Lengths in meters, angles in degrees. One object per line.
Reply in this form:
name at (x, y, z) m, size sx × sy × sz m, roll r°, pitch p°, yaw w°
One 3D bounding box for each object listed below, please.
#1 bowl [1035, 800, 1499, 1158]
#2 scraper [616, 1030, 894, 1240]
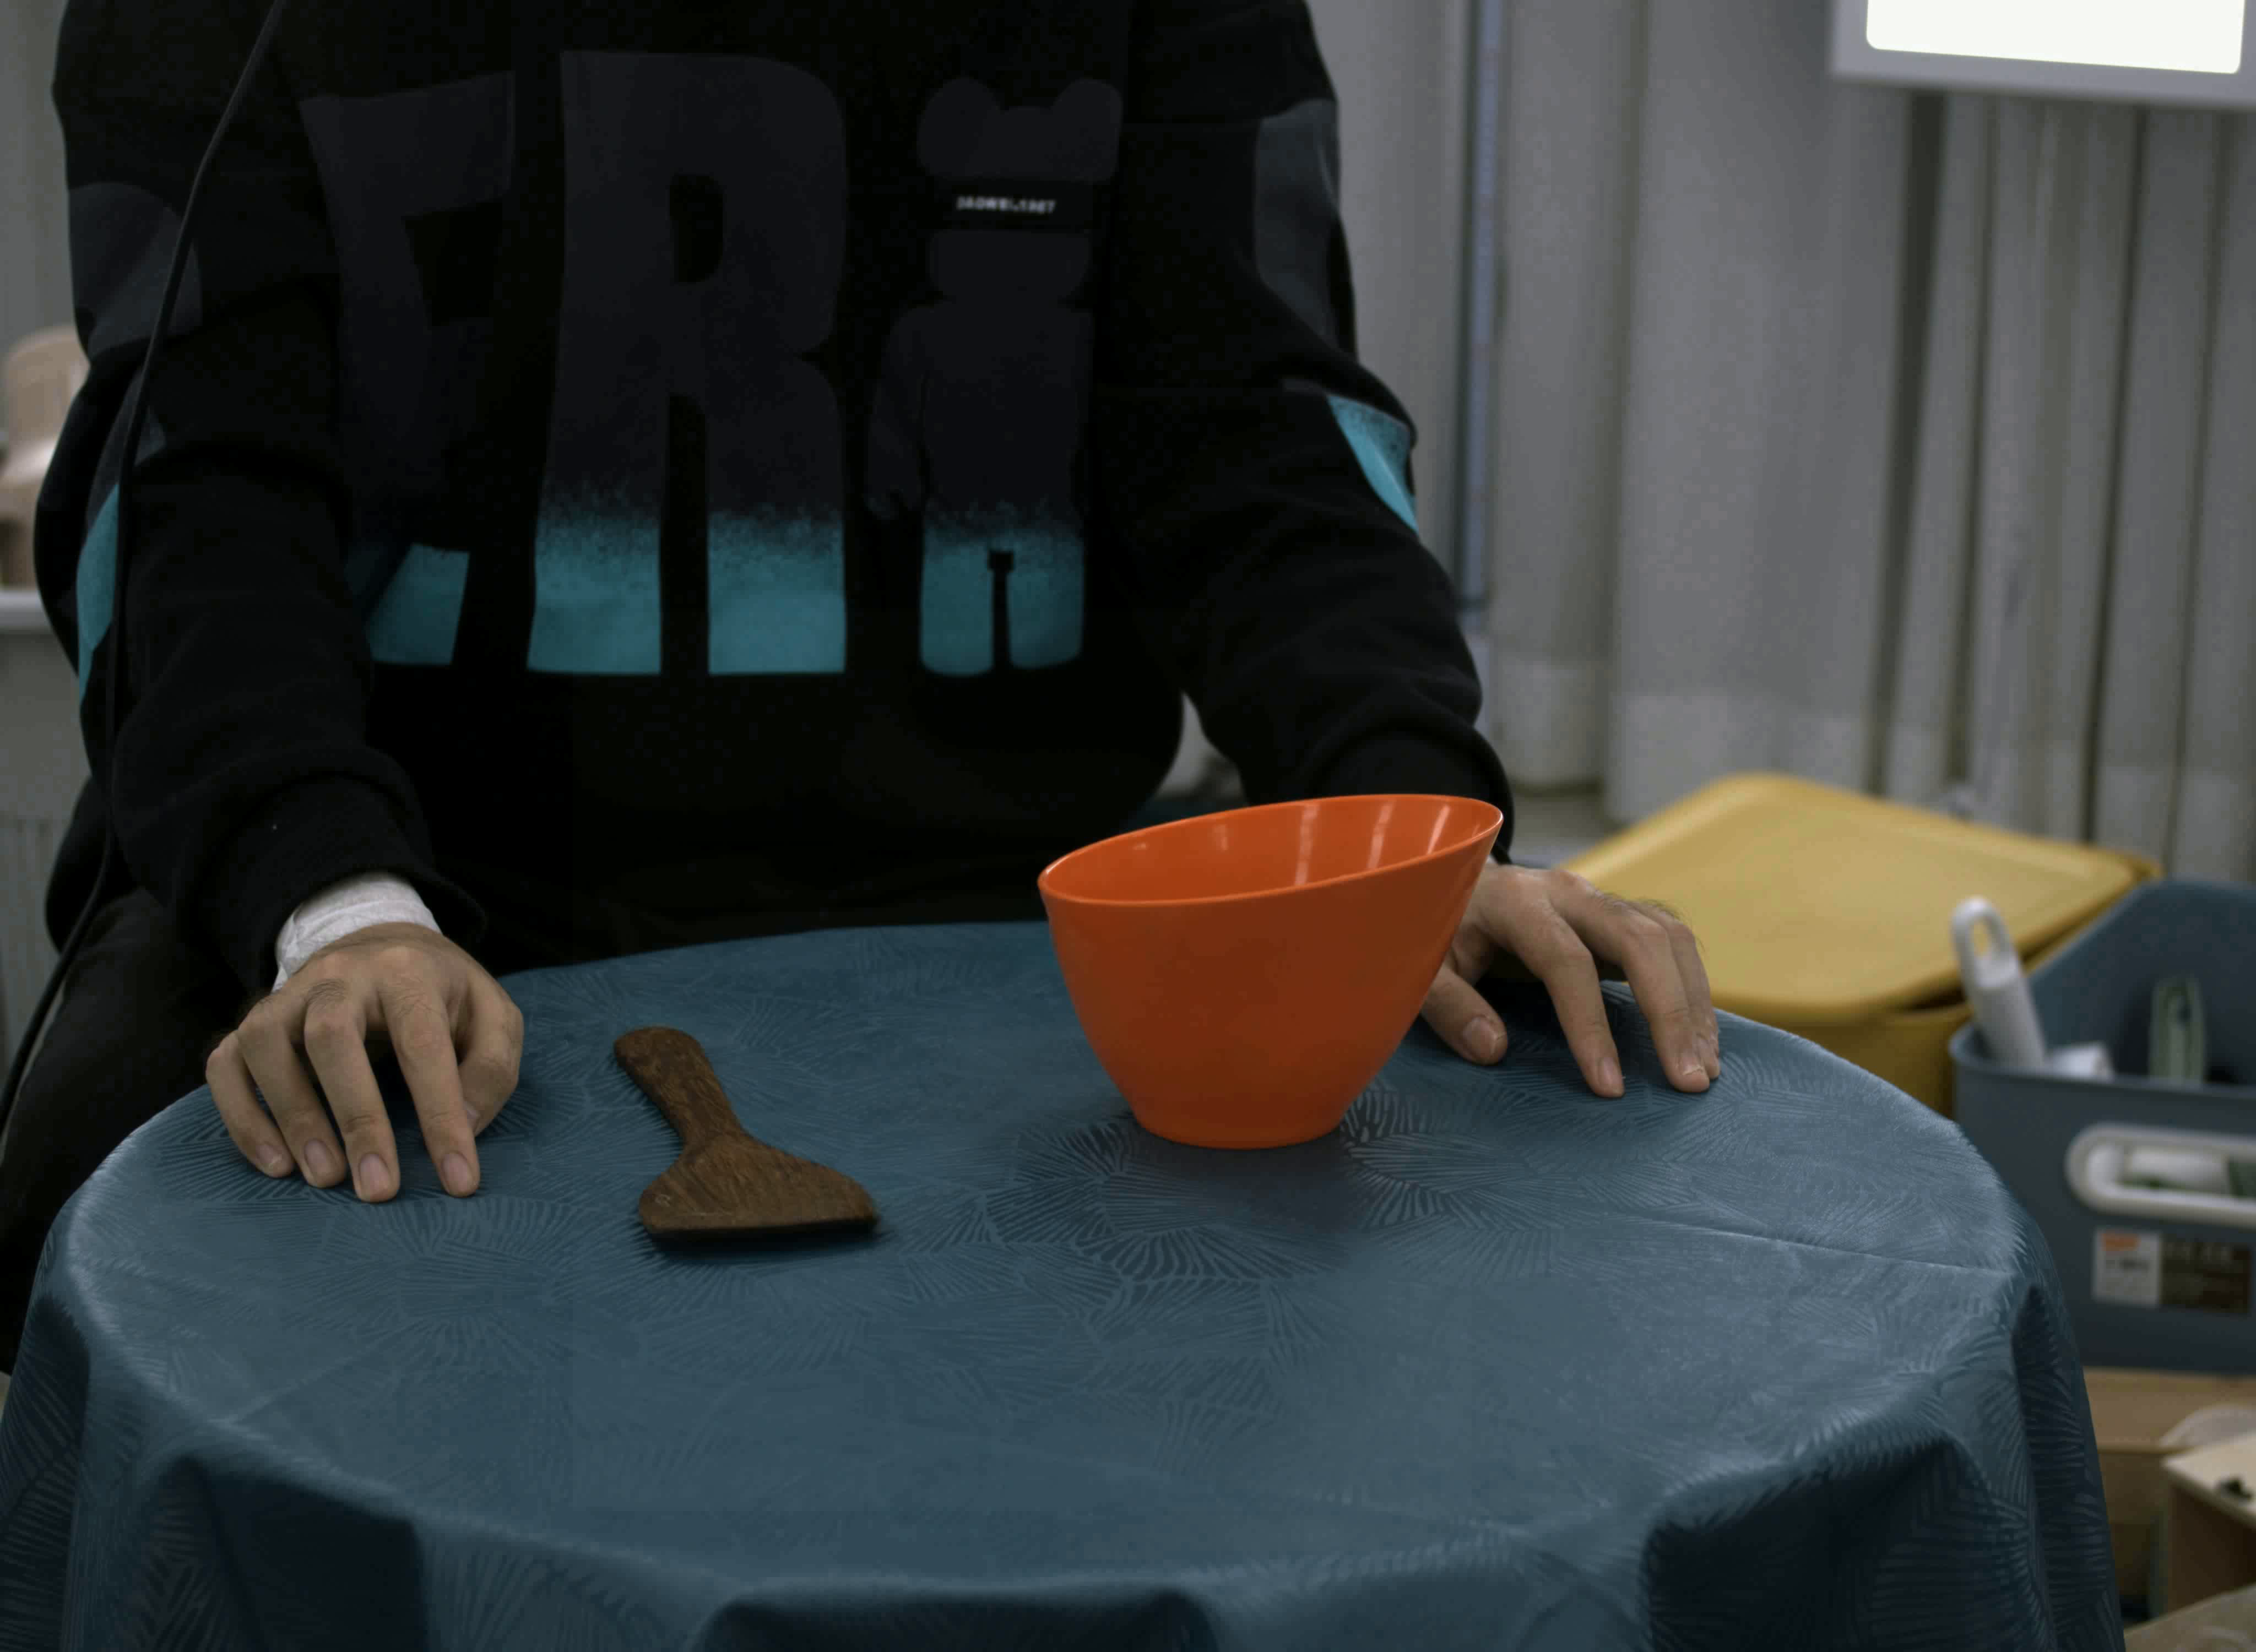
bowl at (0.044, 0.048, 1.675) m, size 0.147 × 0.105 × 0.147 m, roll -1°, pitch 15°, yaw 1°
scraper at (-0.131, 0.097, 1.663) m, size 0.076 × 0.011 × 0.209 m, roll -3°, pitch 15°, yaw -15°
